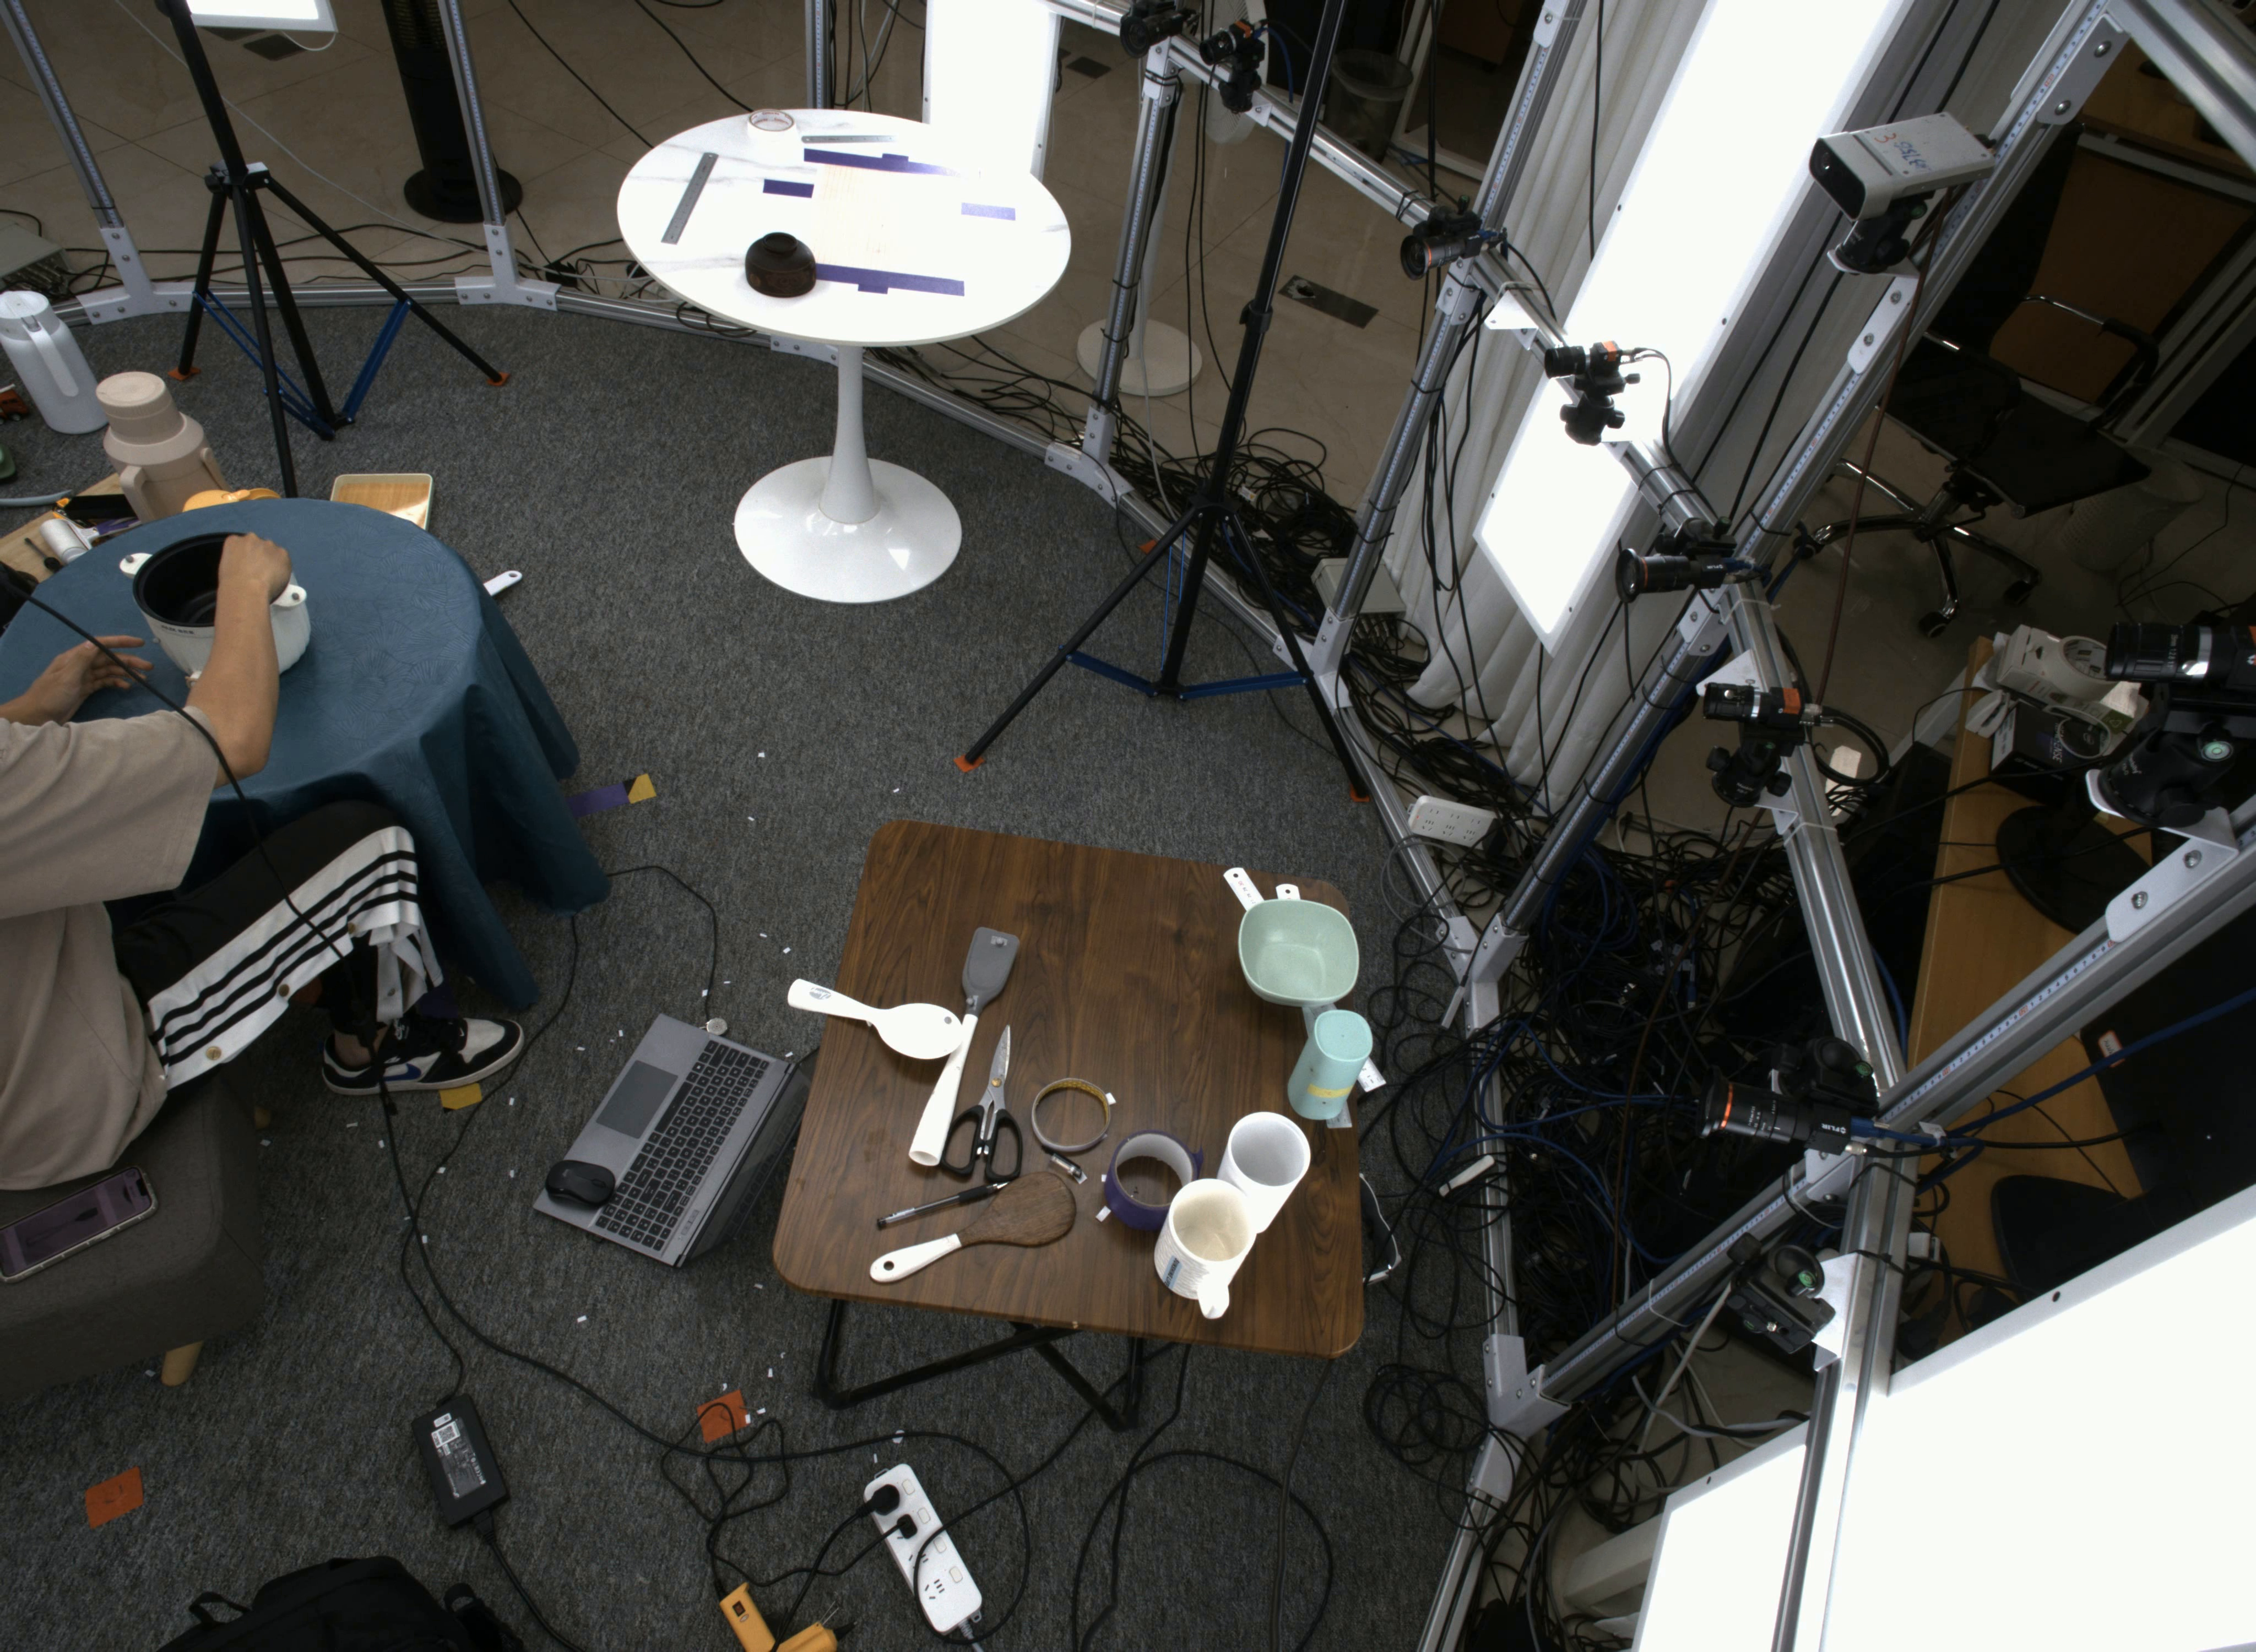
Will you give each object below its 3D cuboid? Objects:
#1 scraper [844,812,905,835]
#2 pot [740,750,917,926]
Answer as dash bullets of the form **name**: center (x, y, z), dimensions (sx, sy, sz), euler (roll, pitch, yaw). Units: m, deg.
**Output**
- **scraper**: center (-0.297, -0.004, 1.526), dimensions (0.039, 0.166, 0.015), euler (-36, 105, -22)
- **pot**: center (-0.379, 0.021, 1.640), dimensions (0.237, 0.146, 0.189), euler (22, 48, 6)
